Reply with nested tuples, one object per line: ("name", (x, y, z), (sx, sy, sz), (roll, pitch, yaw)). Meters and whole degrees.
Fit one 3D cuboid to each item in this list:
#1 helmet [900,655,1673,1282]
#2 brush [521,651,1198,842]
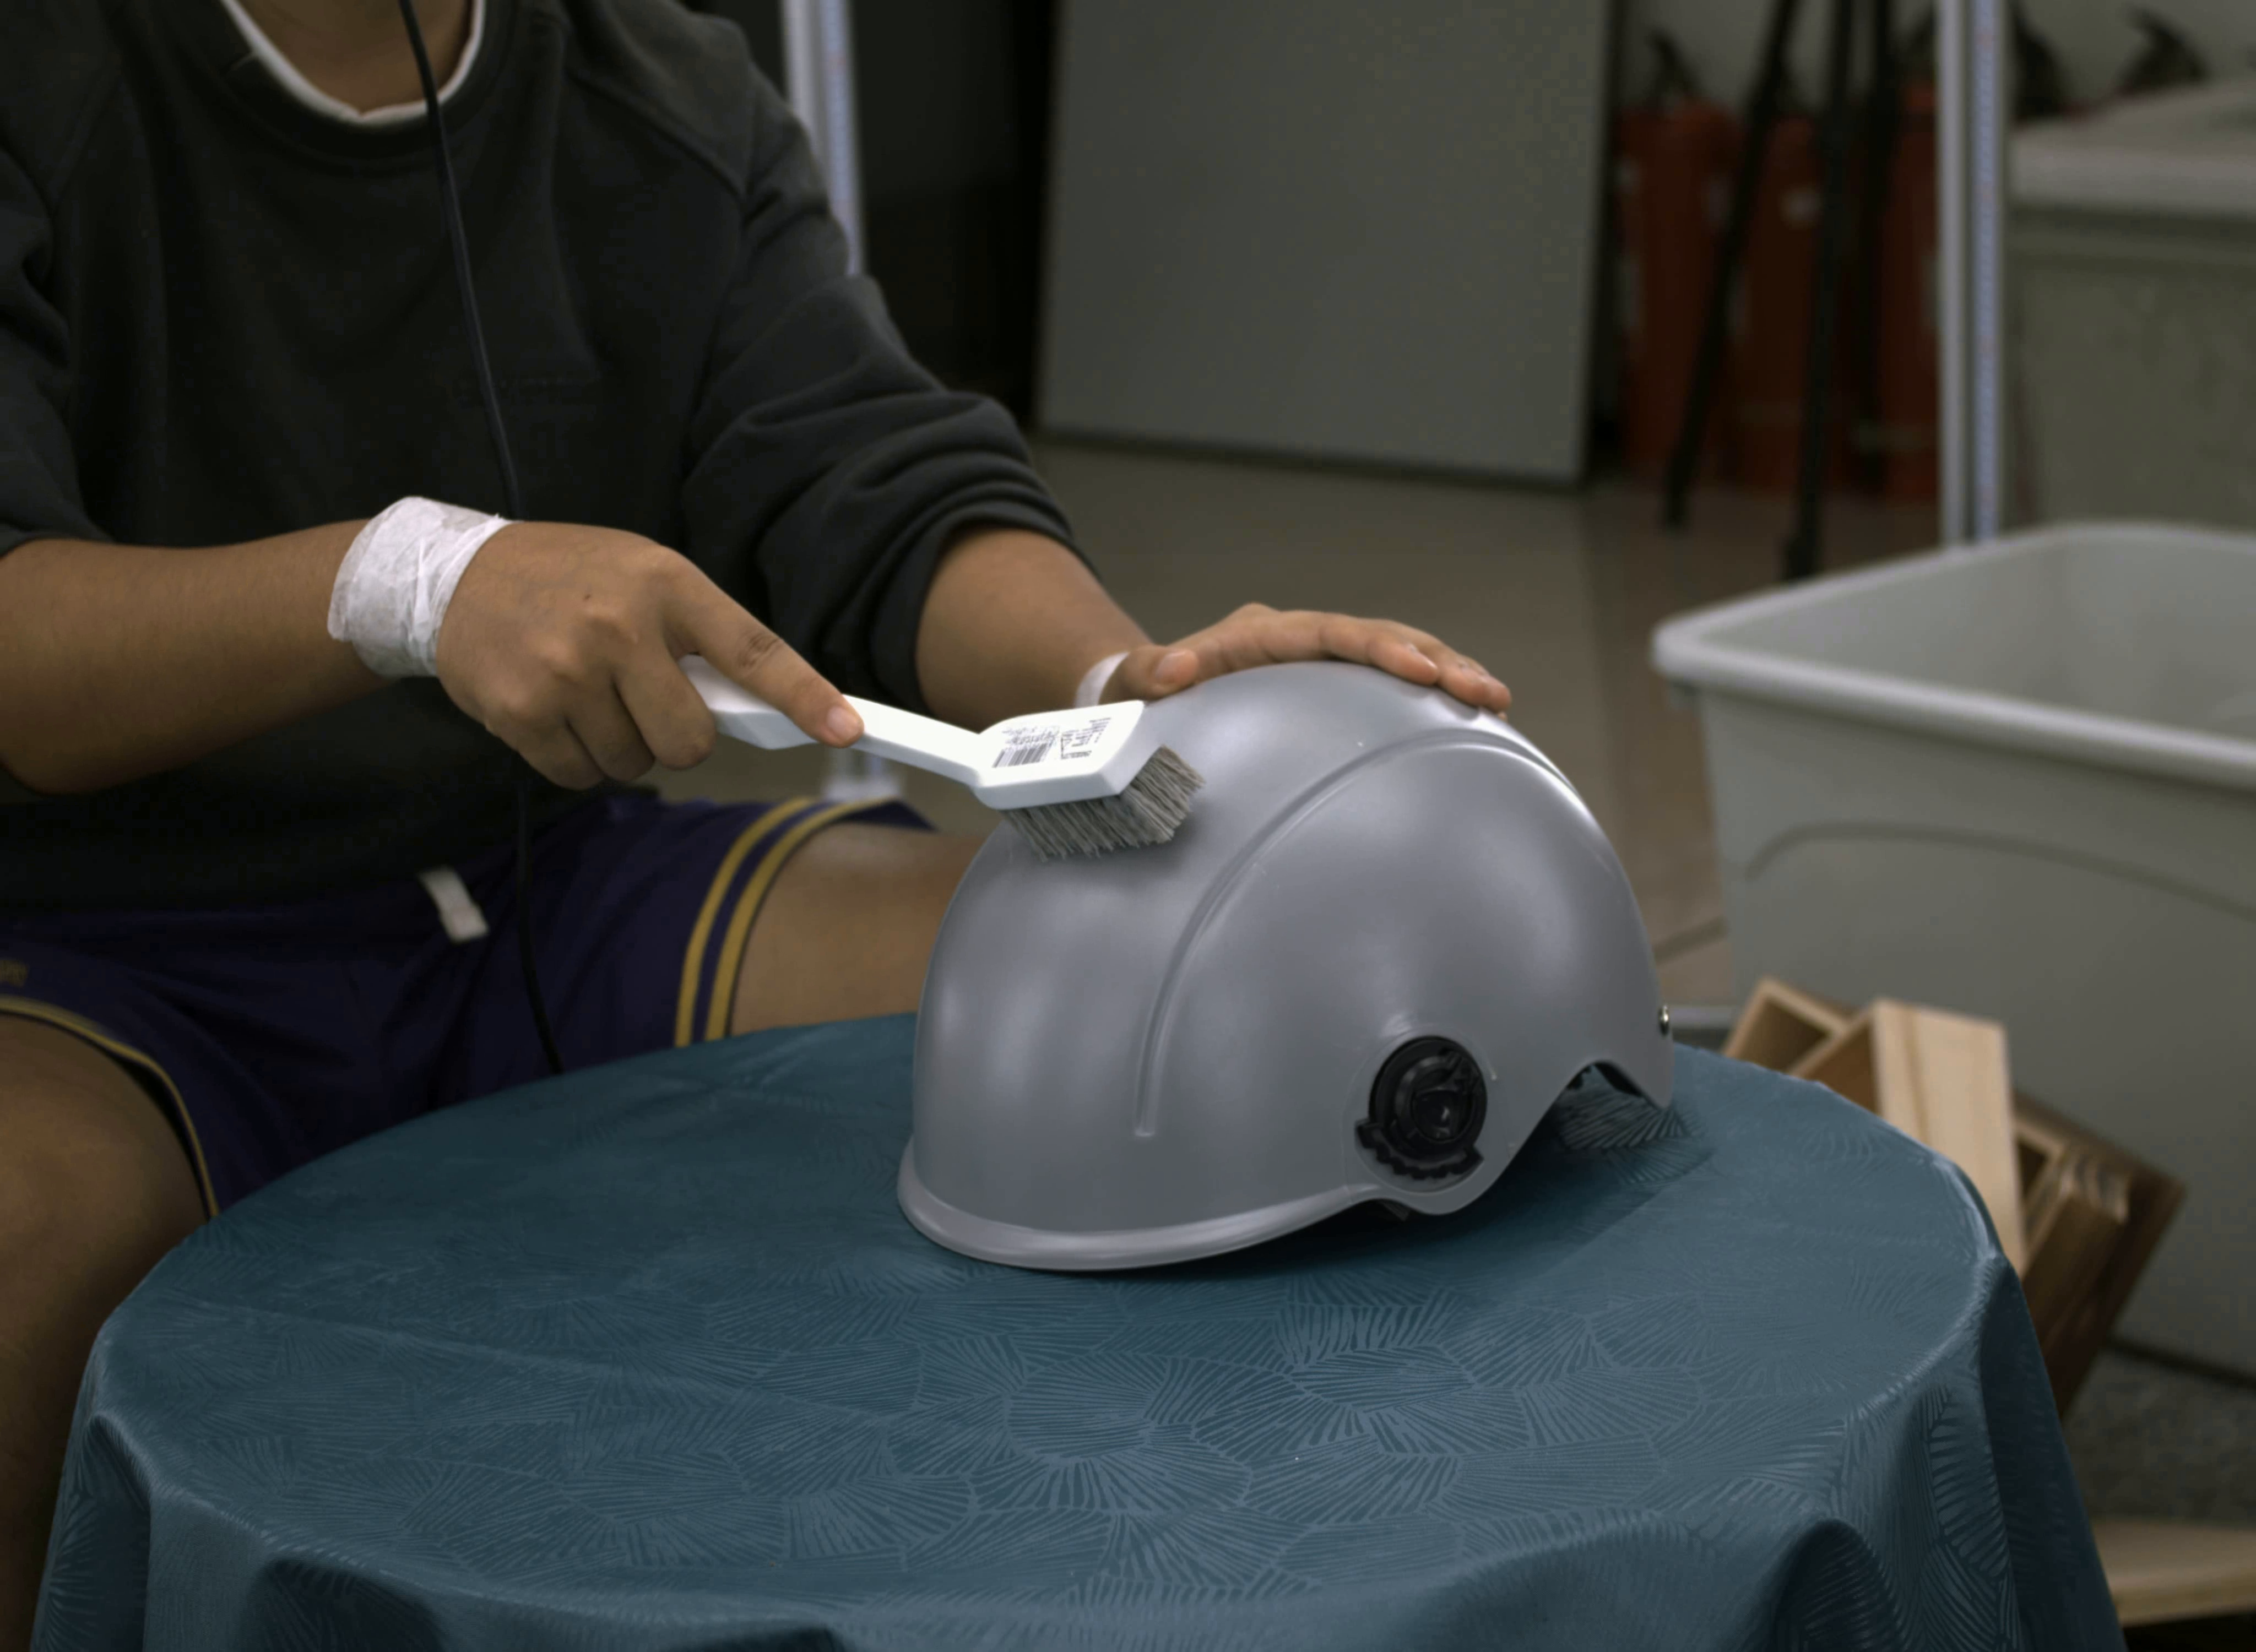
("helmet", (0.045, 0.034, 1.777), (0.270, 0.170, 0.234), (-17, 17, -39))
("brush", (-0.089, -0.026, 1.745), (0.244, 0.050, 0.034), (5, 47, 30))
